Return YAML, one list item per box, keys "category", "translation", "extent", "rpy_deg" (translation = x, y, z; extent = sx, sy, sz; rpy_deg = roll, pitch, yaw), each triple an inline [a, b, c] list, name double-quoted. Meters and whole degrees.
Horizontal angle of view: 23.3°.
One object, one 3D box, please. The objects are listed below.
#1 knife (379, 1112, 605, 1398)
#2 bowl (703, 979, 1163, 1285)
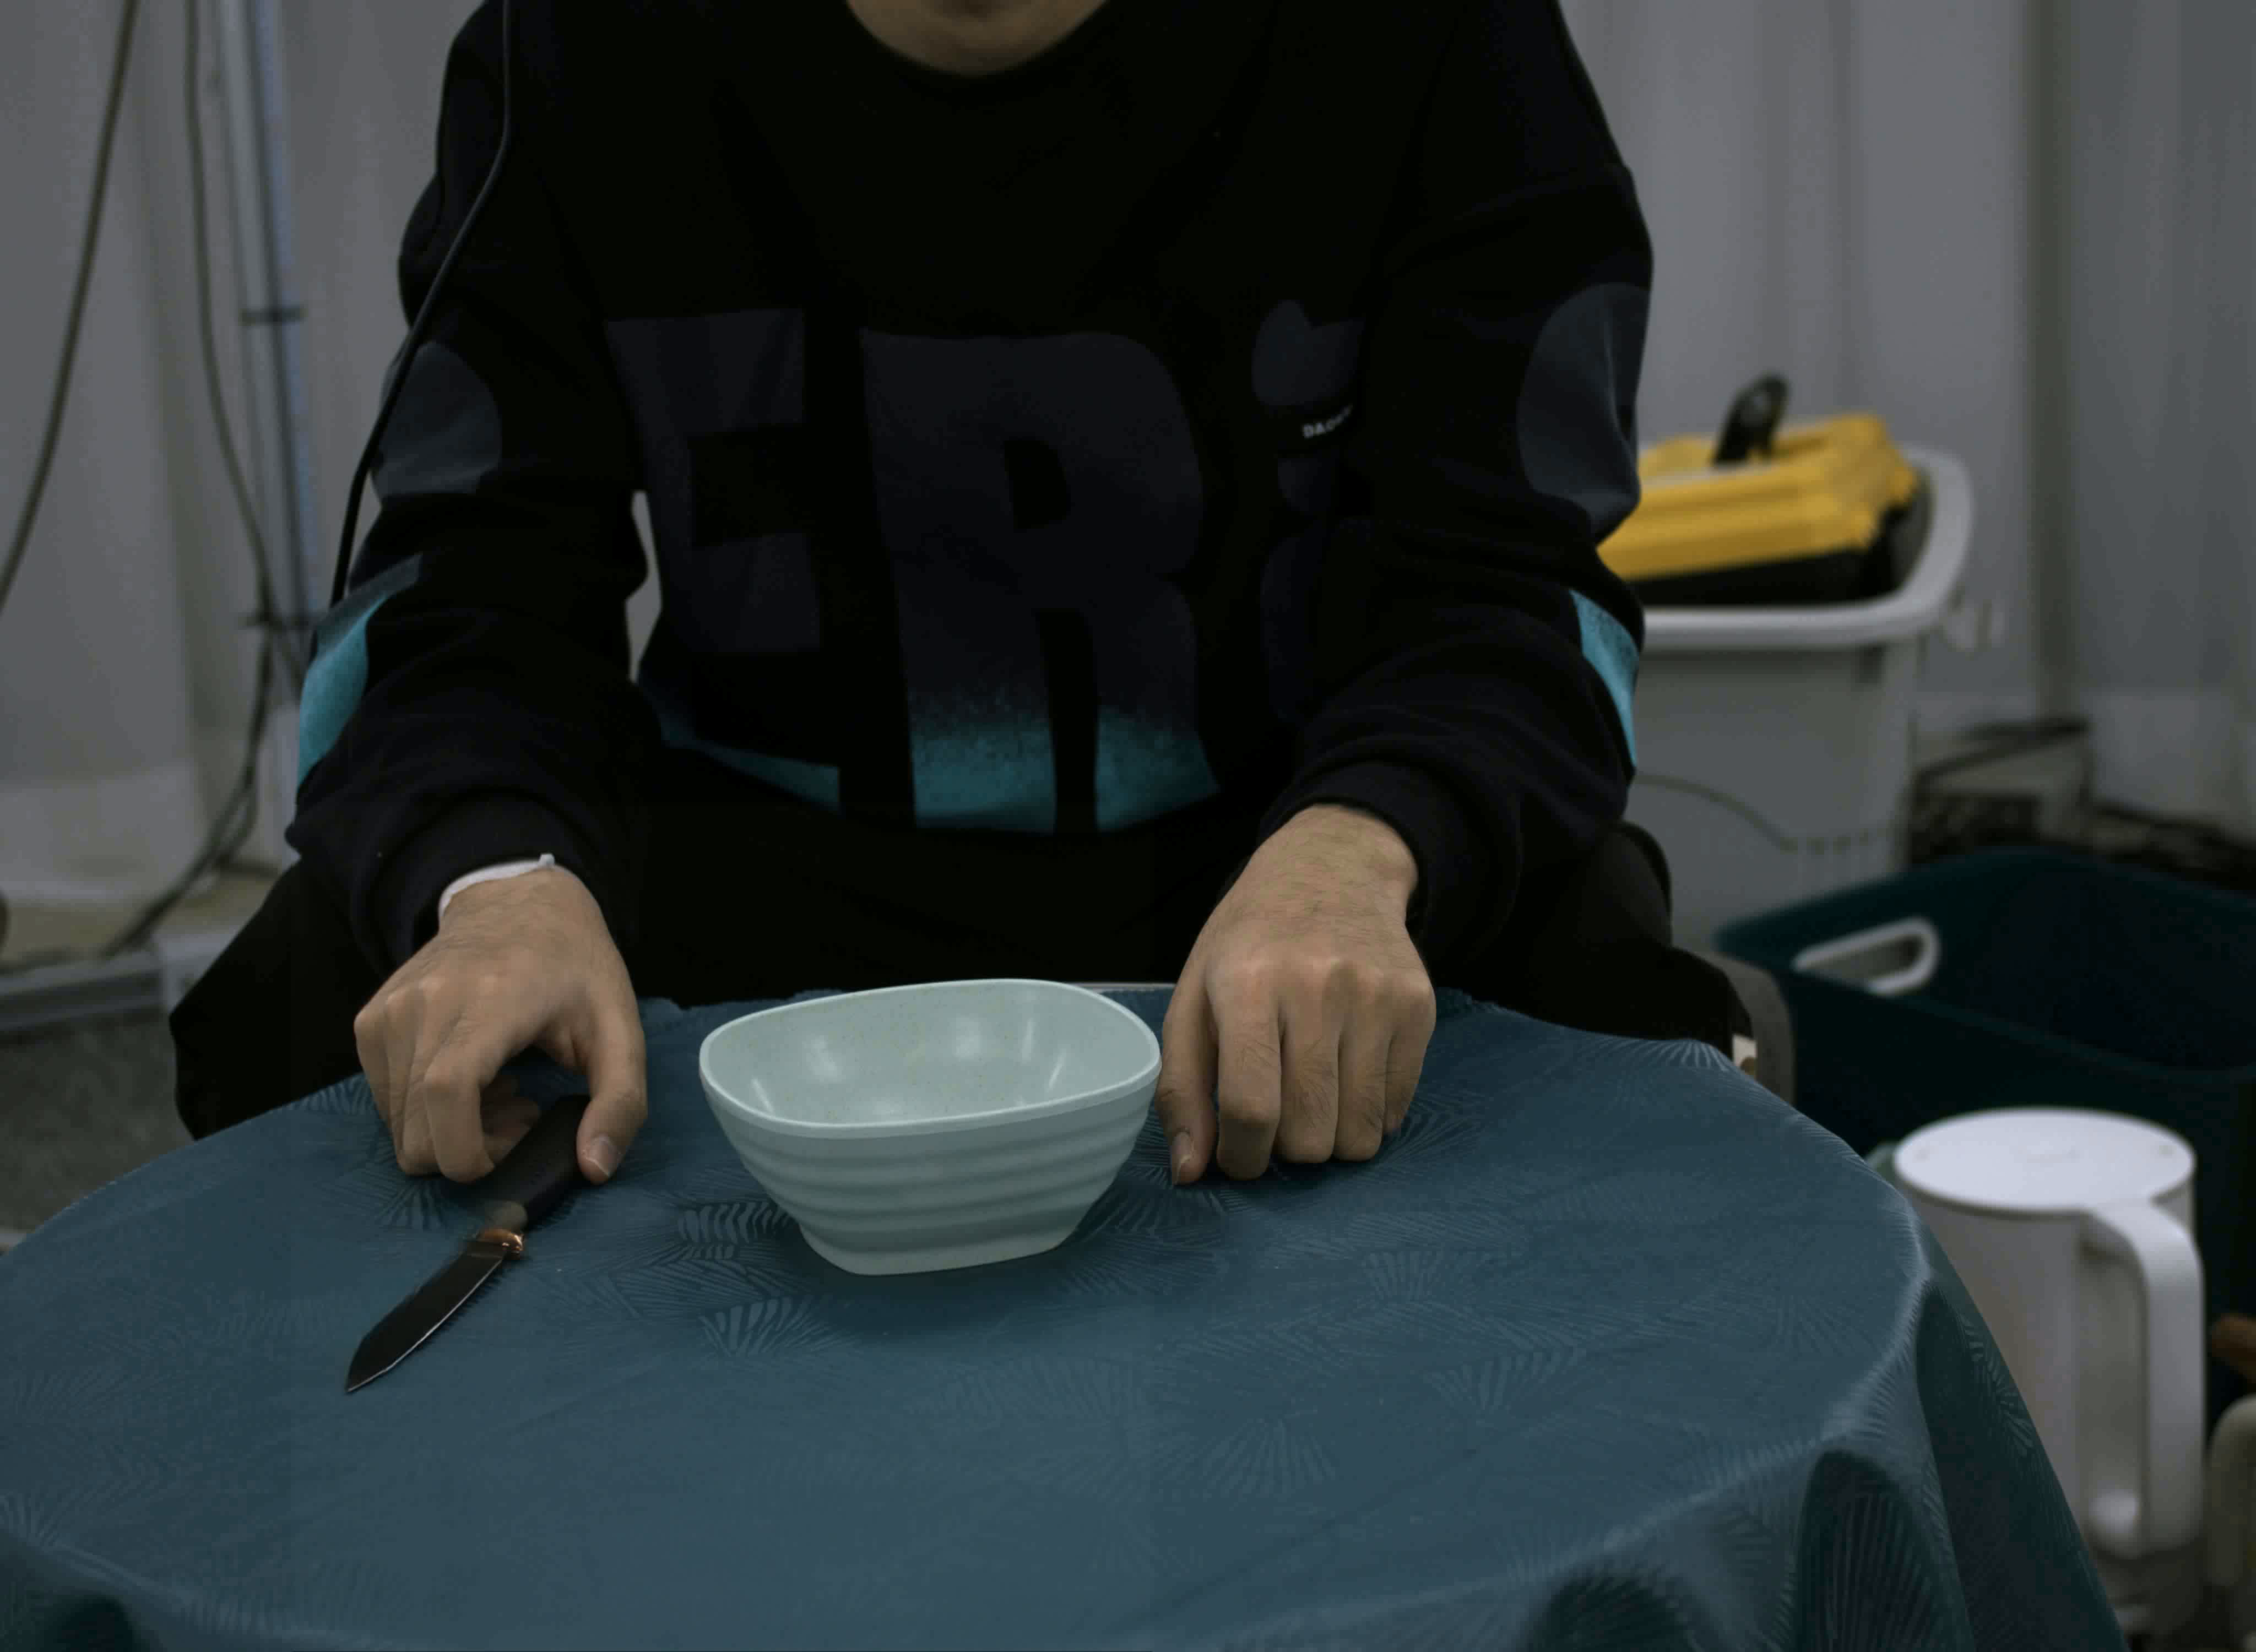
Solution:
- category: "knife"
  translation: [-0.198, 0.130, 1.677]
  extent: [0.026, 0.017, 0.227]
  rpy_deg: [9, 18, 8]
- category: "bowl"
  translation: [-0.058, 0.097, 1.686]
  extent: [0.151, 0.058, 0.152]
  rpy_deg: [-4, 15, 1]
